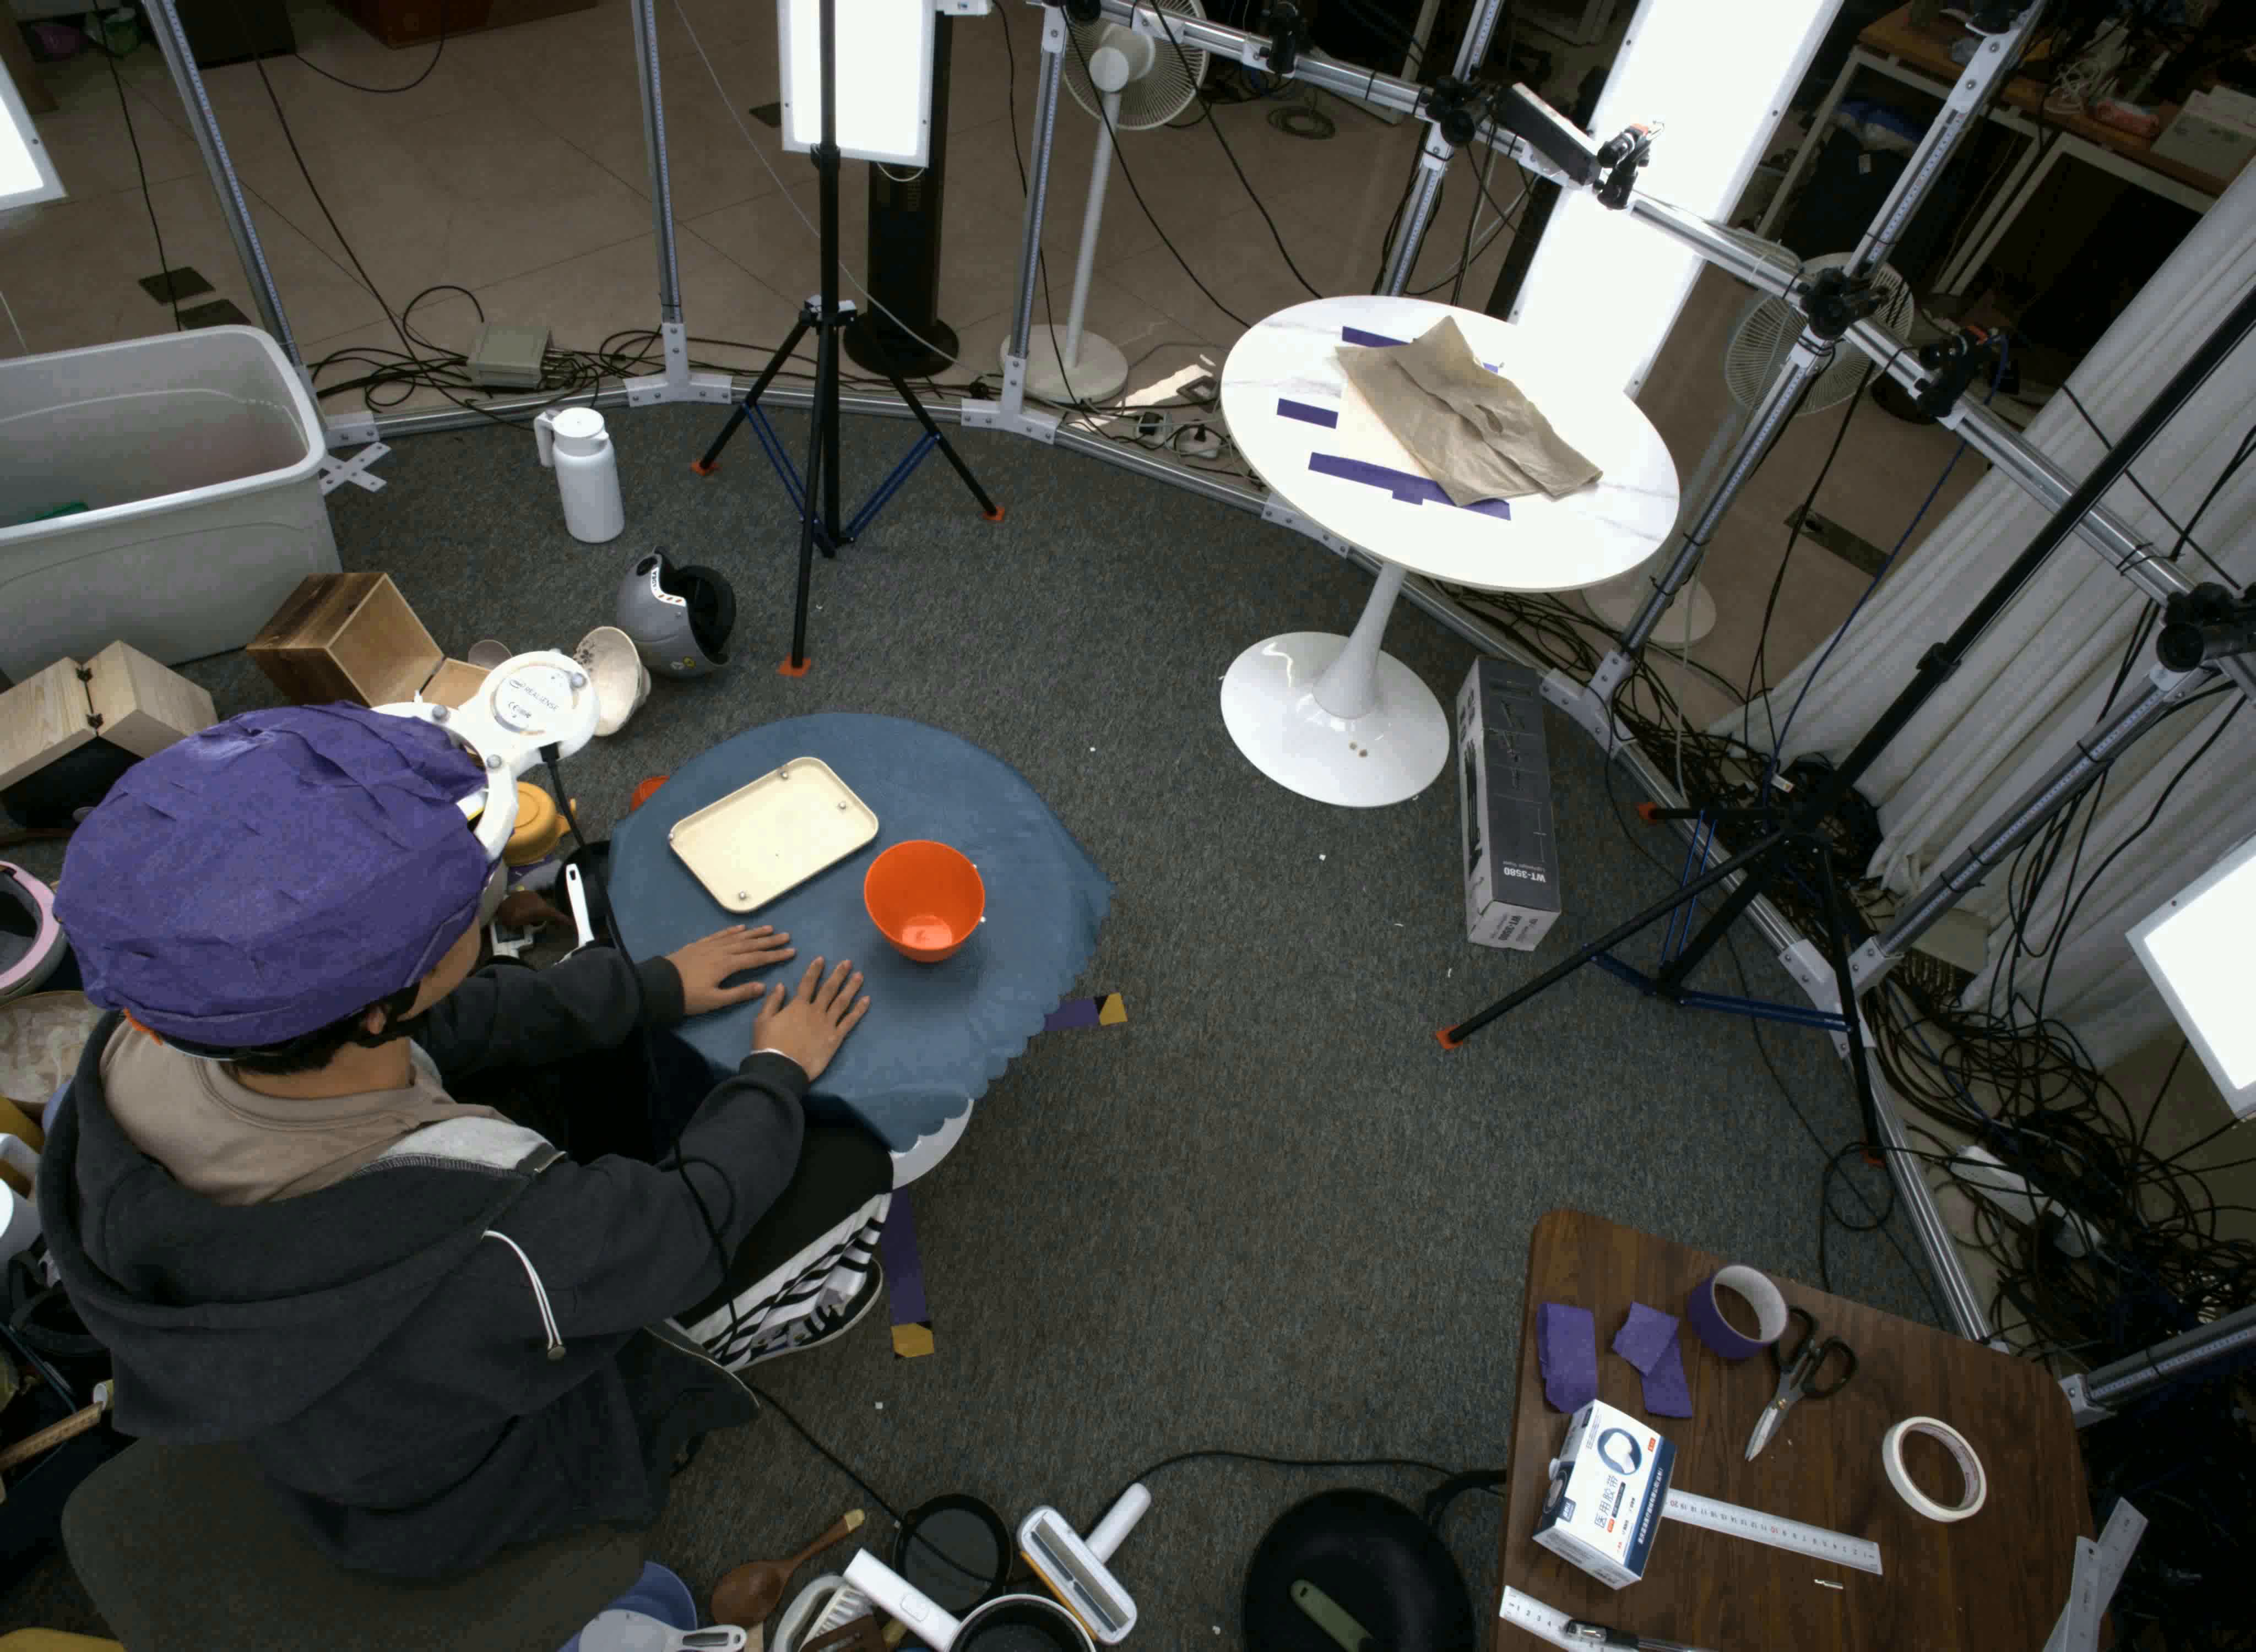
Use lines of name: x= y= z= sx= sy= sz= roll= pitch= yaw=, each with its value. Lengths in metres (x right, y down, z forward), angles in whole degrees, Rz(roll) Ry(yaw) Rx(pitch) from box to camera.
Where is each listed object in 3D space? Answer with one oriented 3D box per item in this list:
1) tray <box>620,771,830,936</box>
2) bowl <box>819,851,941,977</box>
tray: x=-0.519 y=0.032 z=1.669 sx=0.168 sy=0.018 sz=0.240 roll=41 pitch=55 yaw=16
bowl: x=-0.305 y=0.119 z=1.605 sx=0.148 sy=0.107 sz=0.145 roll=8 pitch=51 yaw=-8
